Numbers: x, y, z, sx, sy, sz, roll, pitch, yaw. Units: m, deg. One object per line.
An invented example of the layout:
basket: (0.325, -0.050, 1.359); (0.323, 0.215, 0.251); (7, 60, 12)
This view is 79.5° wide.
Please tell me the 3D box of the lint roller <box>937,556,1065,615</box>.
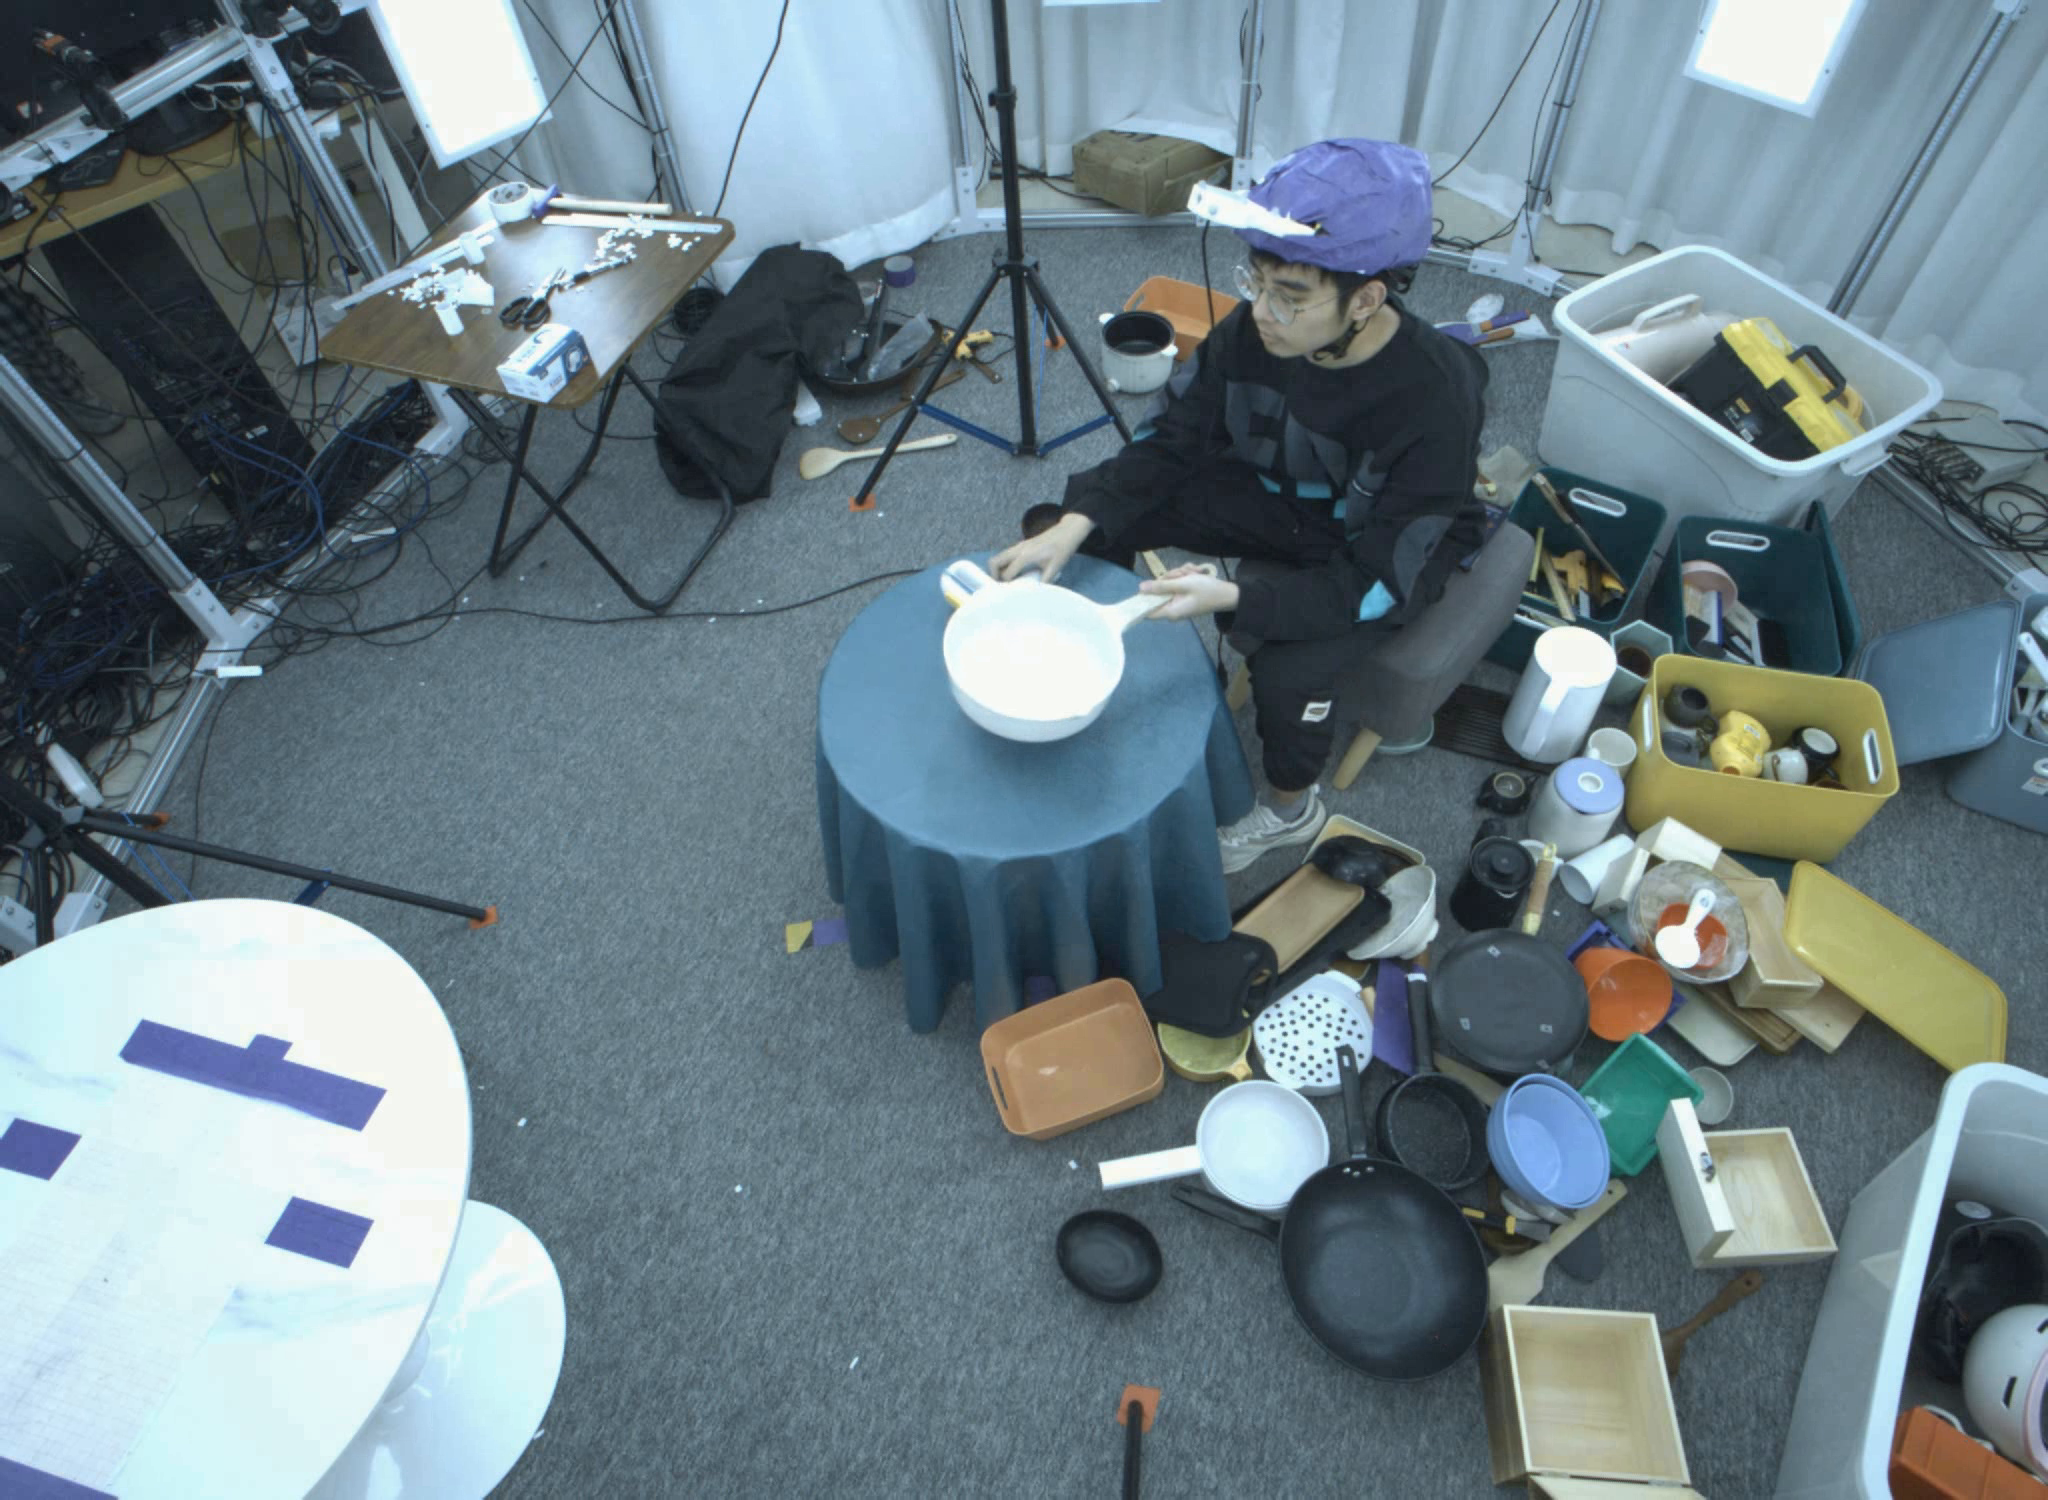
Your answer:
lint roller: (-0.012, -0.251, 1.921); (0.194, 0.074, 0.190); (-39, 68, -25)

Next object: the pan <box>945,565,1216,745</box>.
pan: (0.092, -0.152, 1.754); (0.440, 0.102, 0.258); (-24, 59, -23)
